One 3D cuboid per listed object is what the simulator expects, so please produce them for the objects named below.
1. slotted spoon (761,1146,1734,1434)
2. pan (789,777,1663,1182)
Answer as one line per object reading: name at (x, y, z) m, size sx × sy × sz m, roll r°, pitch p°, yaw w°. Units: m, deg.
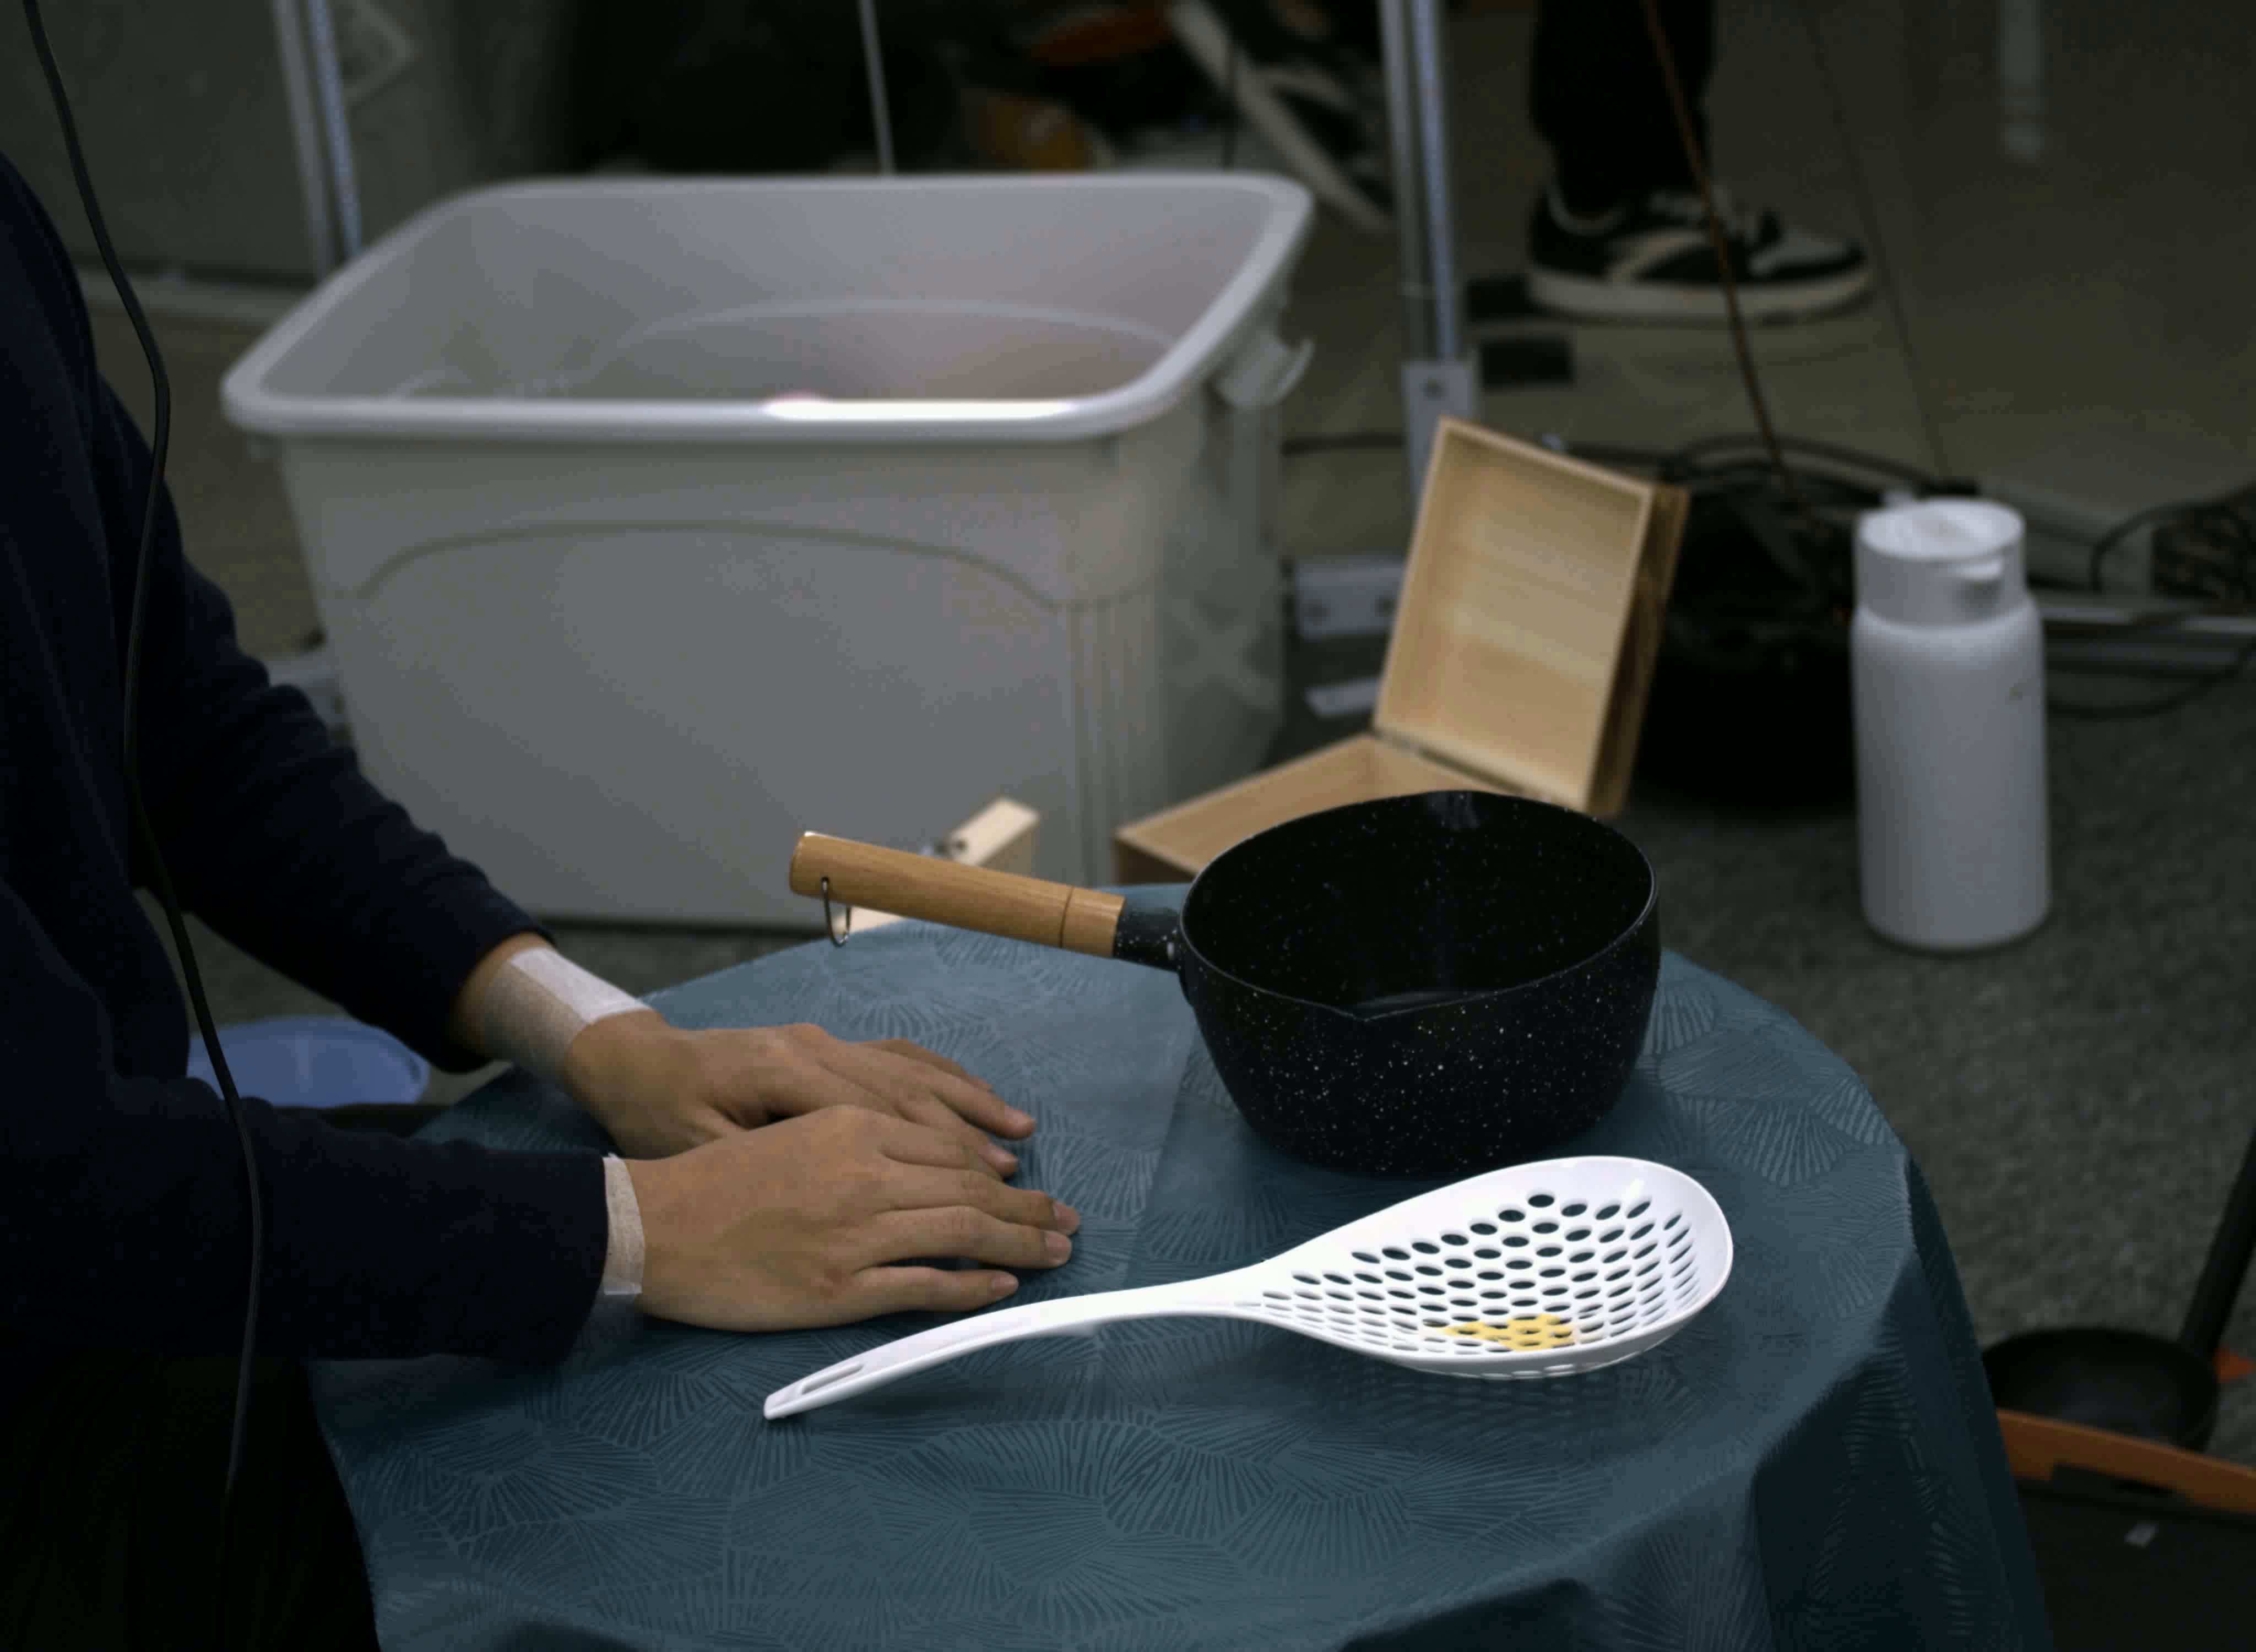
slotted spoon at (0.041, 0.175, 2.008) m, size 0.347 × 0.051 × 0.135 m, roll -4°, pitch 27°, yaw 1°
pan at (0.036, 0.054, 2.191) m, size 0.342 × 0.110 × 0.204 m, roll 1°, pitch 27°, yaw 12°
